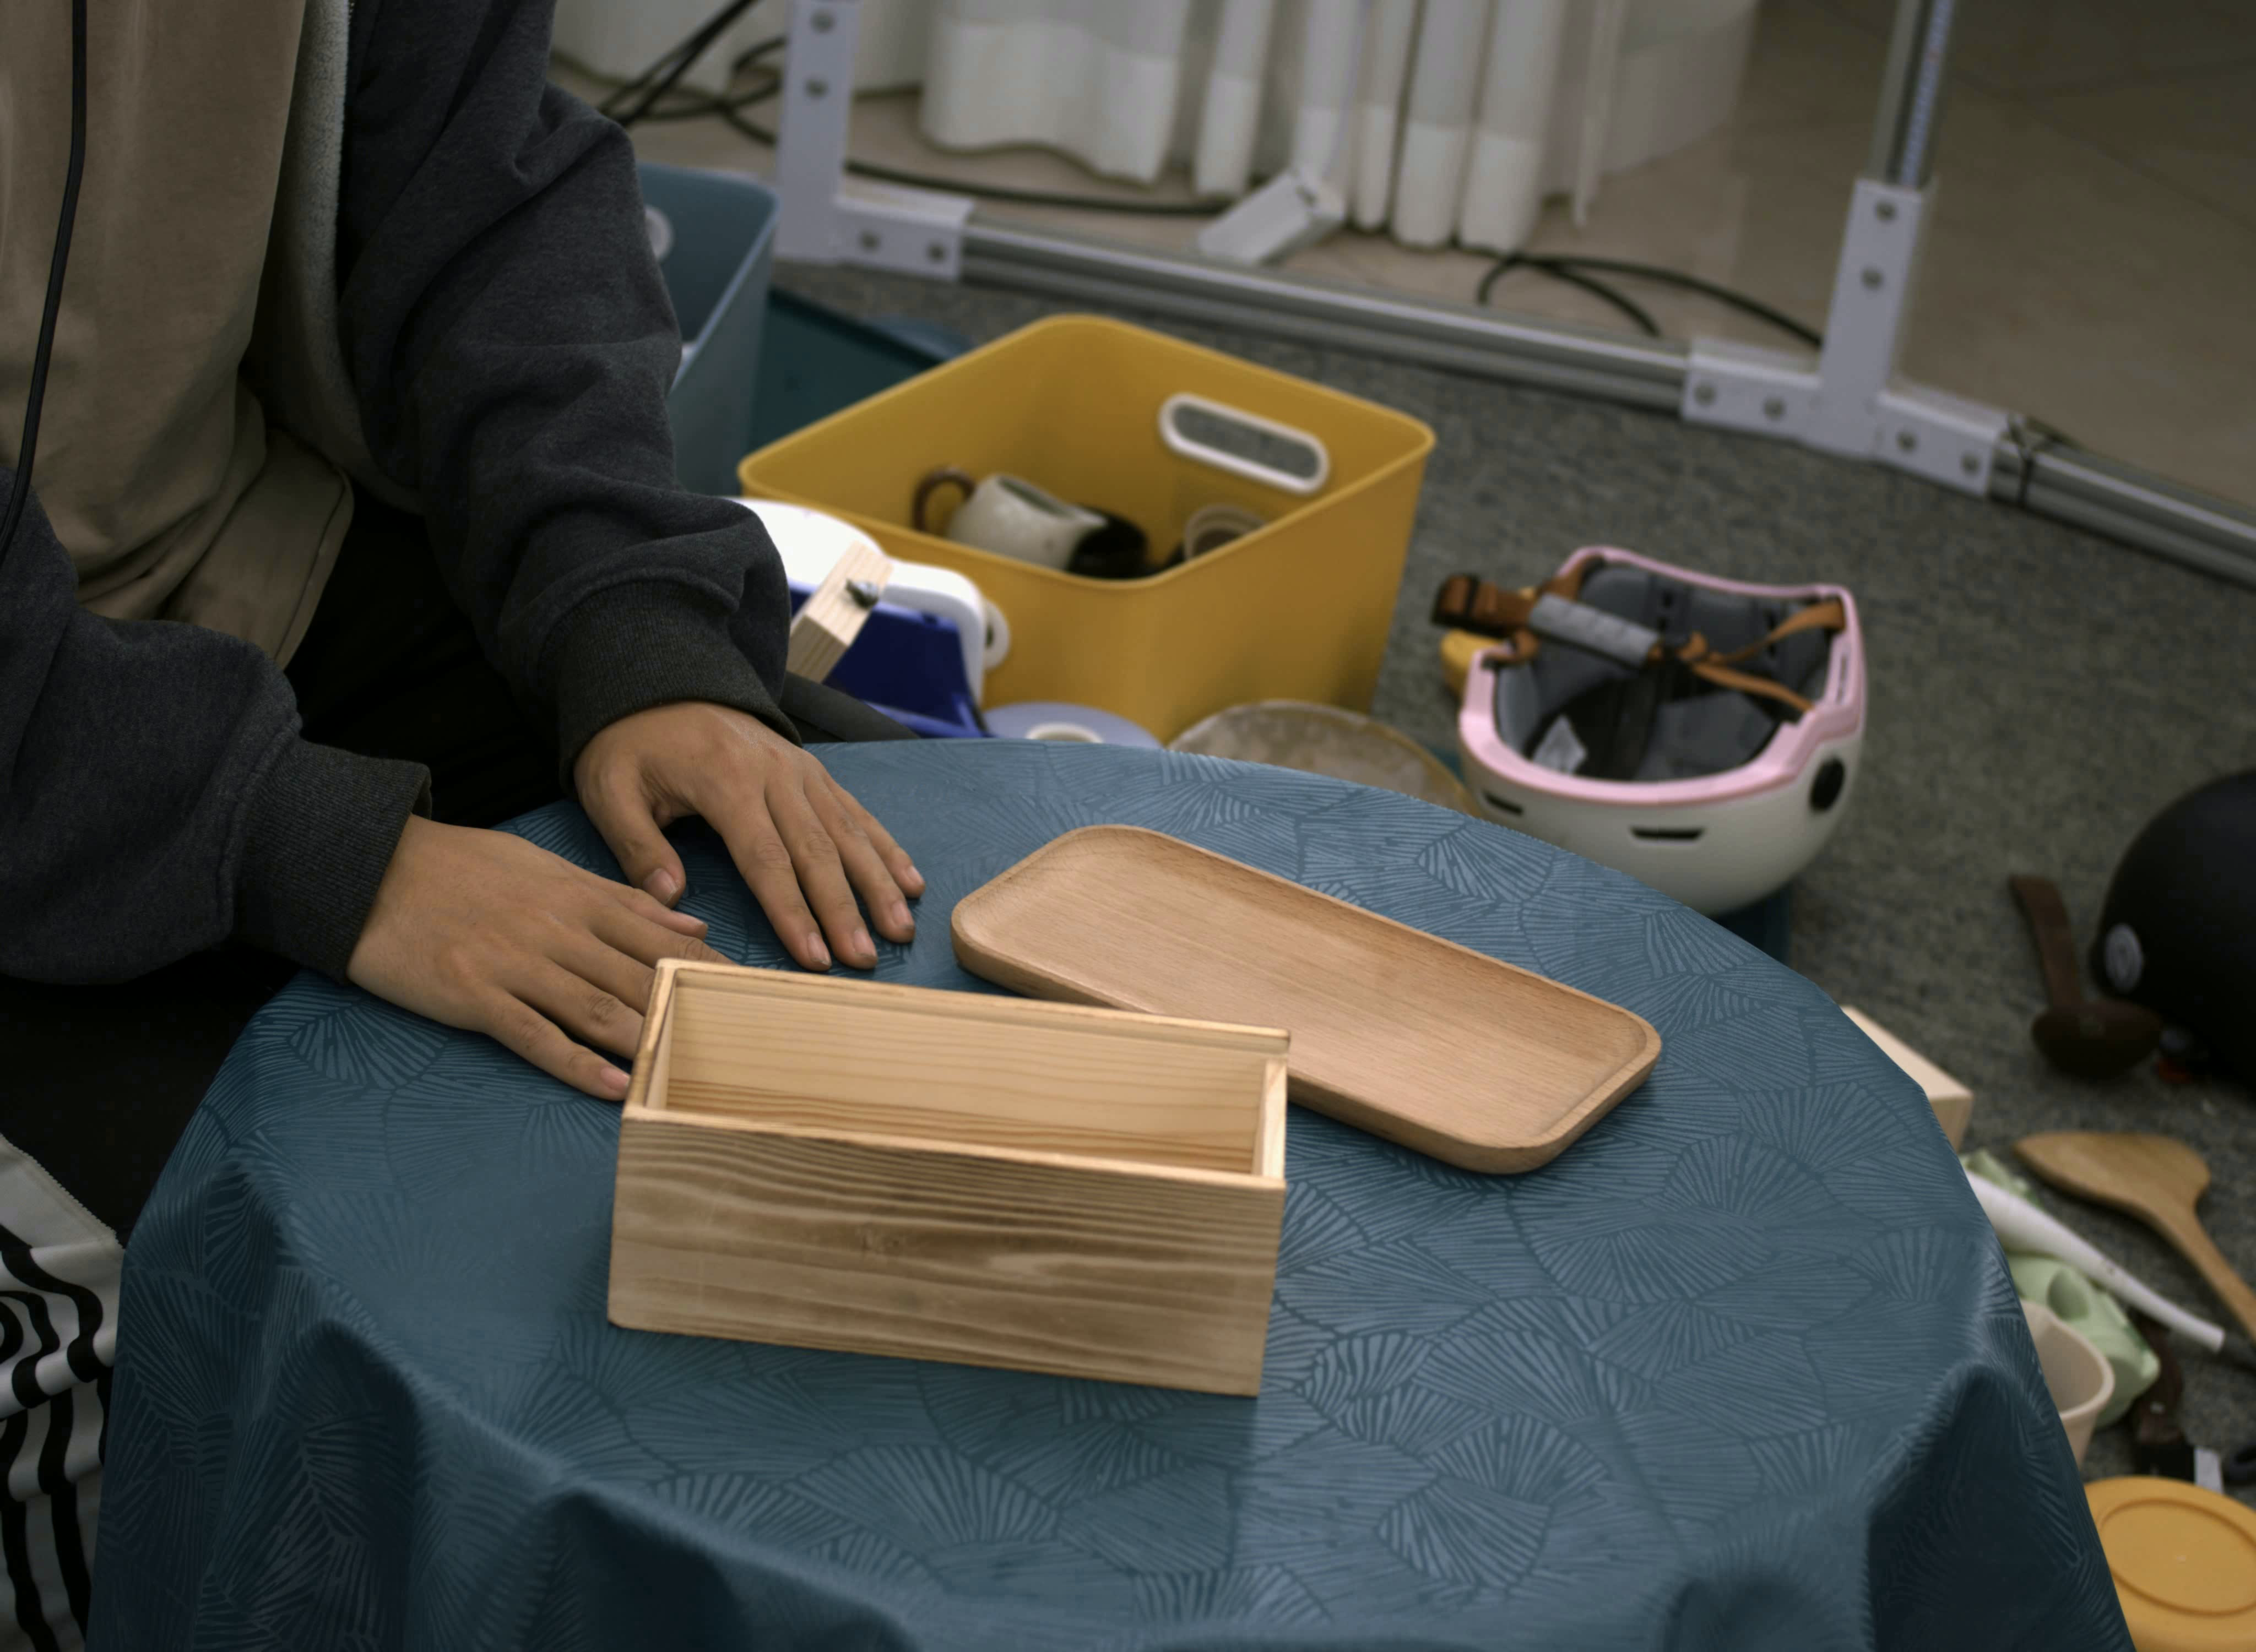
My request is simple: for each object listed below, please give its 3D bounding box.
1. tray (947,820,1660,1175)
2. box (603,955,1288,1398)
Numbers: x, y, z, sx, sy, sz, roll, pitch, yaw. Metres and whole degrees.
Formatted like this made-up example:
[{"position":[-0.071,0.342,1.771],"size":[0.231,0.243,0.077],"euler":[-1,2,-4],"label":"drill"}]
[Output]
[{"position":[0.062,0.060,1.920],"size":[0.252,0.023,0.130],"euler":[21,27,26],"label":"tray"},{"position":[-0.058,0.113,1.723],"size":[0.211,0.080,0.108],"euler":[6,27,0],"label":"box"}]
